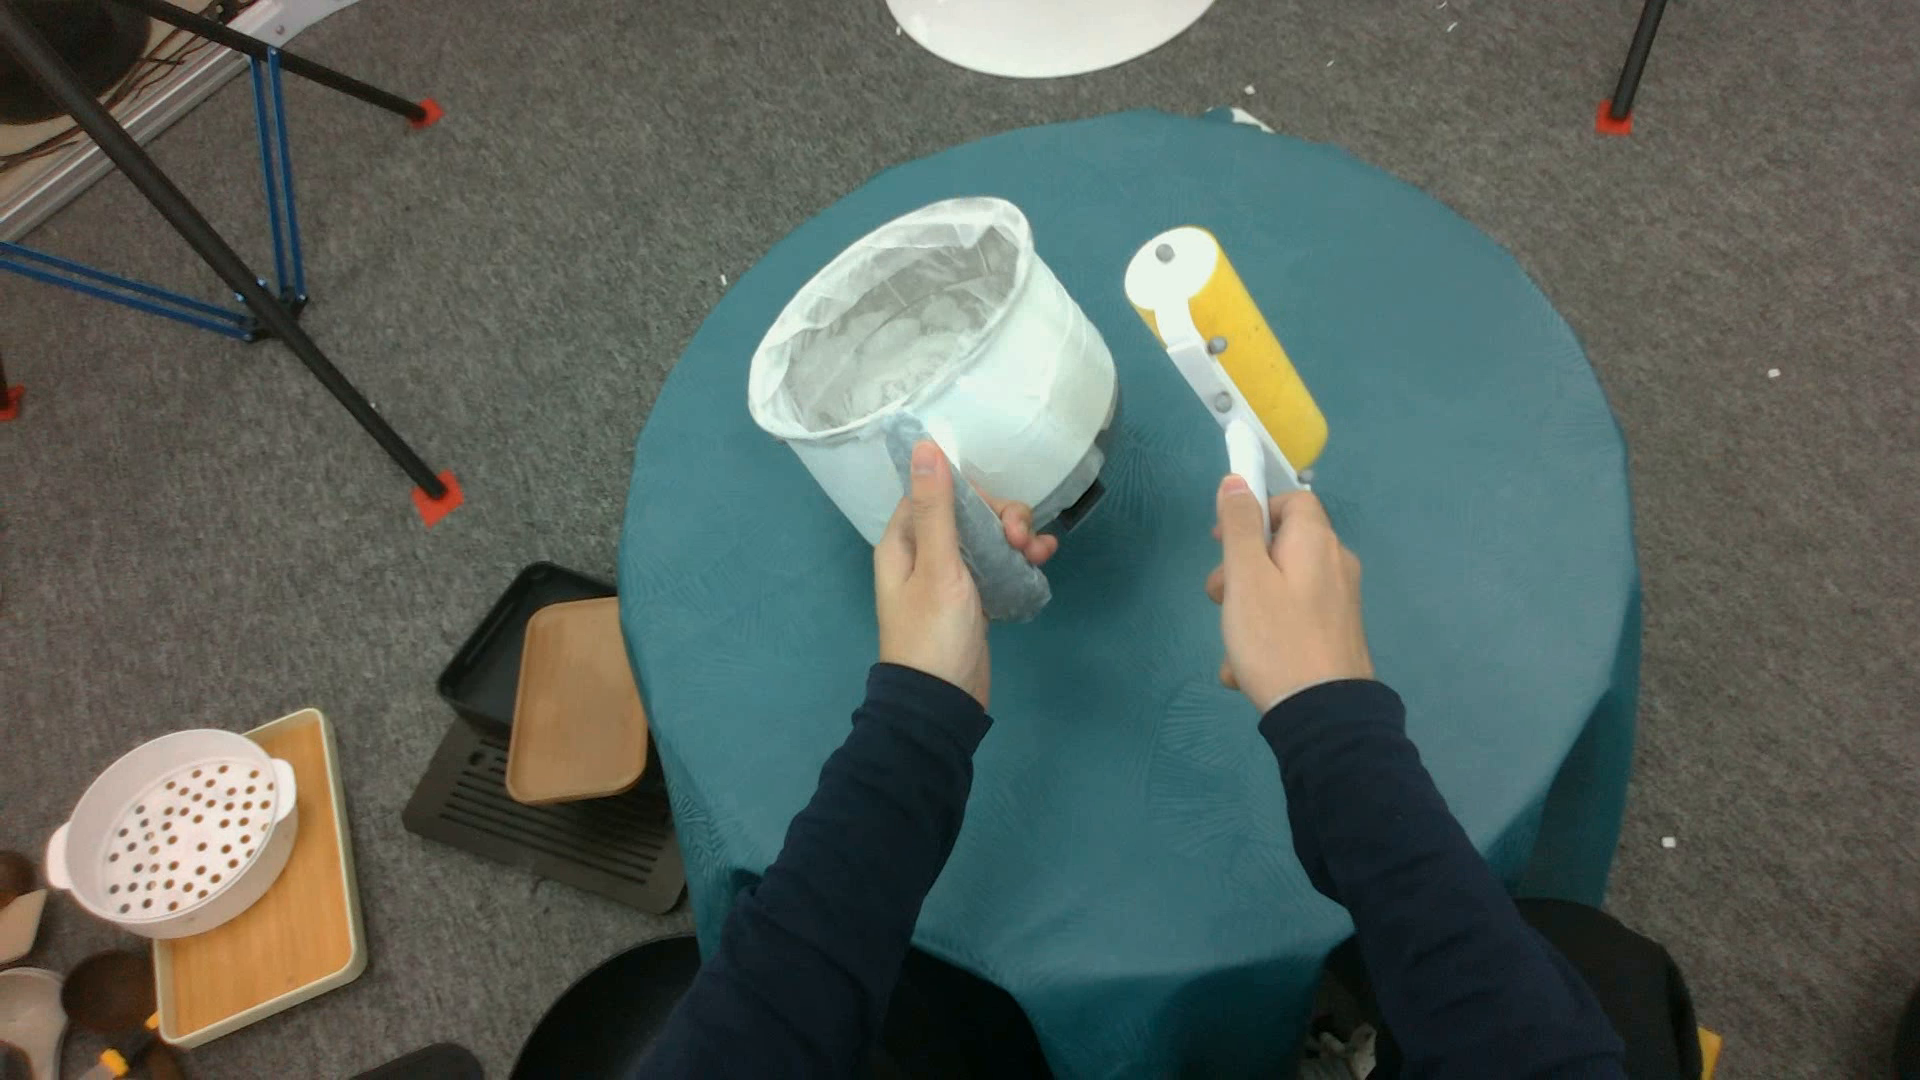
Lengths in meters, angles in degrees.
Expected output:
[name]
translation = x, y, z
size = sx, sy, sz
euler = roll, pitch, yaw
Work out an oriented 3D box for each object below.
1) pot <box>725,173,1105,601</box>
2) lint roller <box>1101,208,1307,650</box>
[pot]
translation = -0.016, -0.075, 0.737
size = 0.178, 0.136, 0.234
euler = -32, 37, 15
[lint roller]
translation = 0.137, -0.040, 0.653
size = 0.051, 0.174, 0.193
euler = -26, 54, 21
